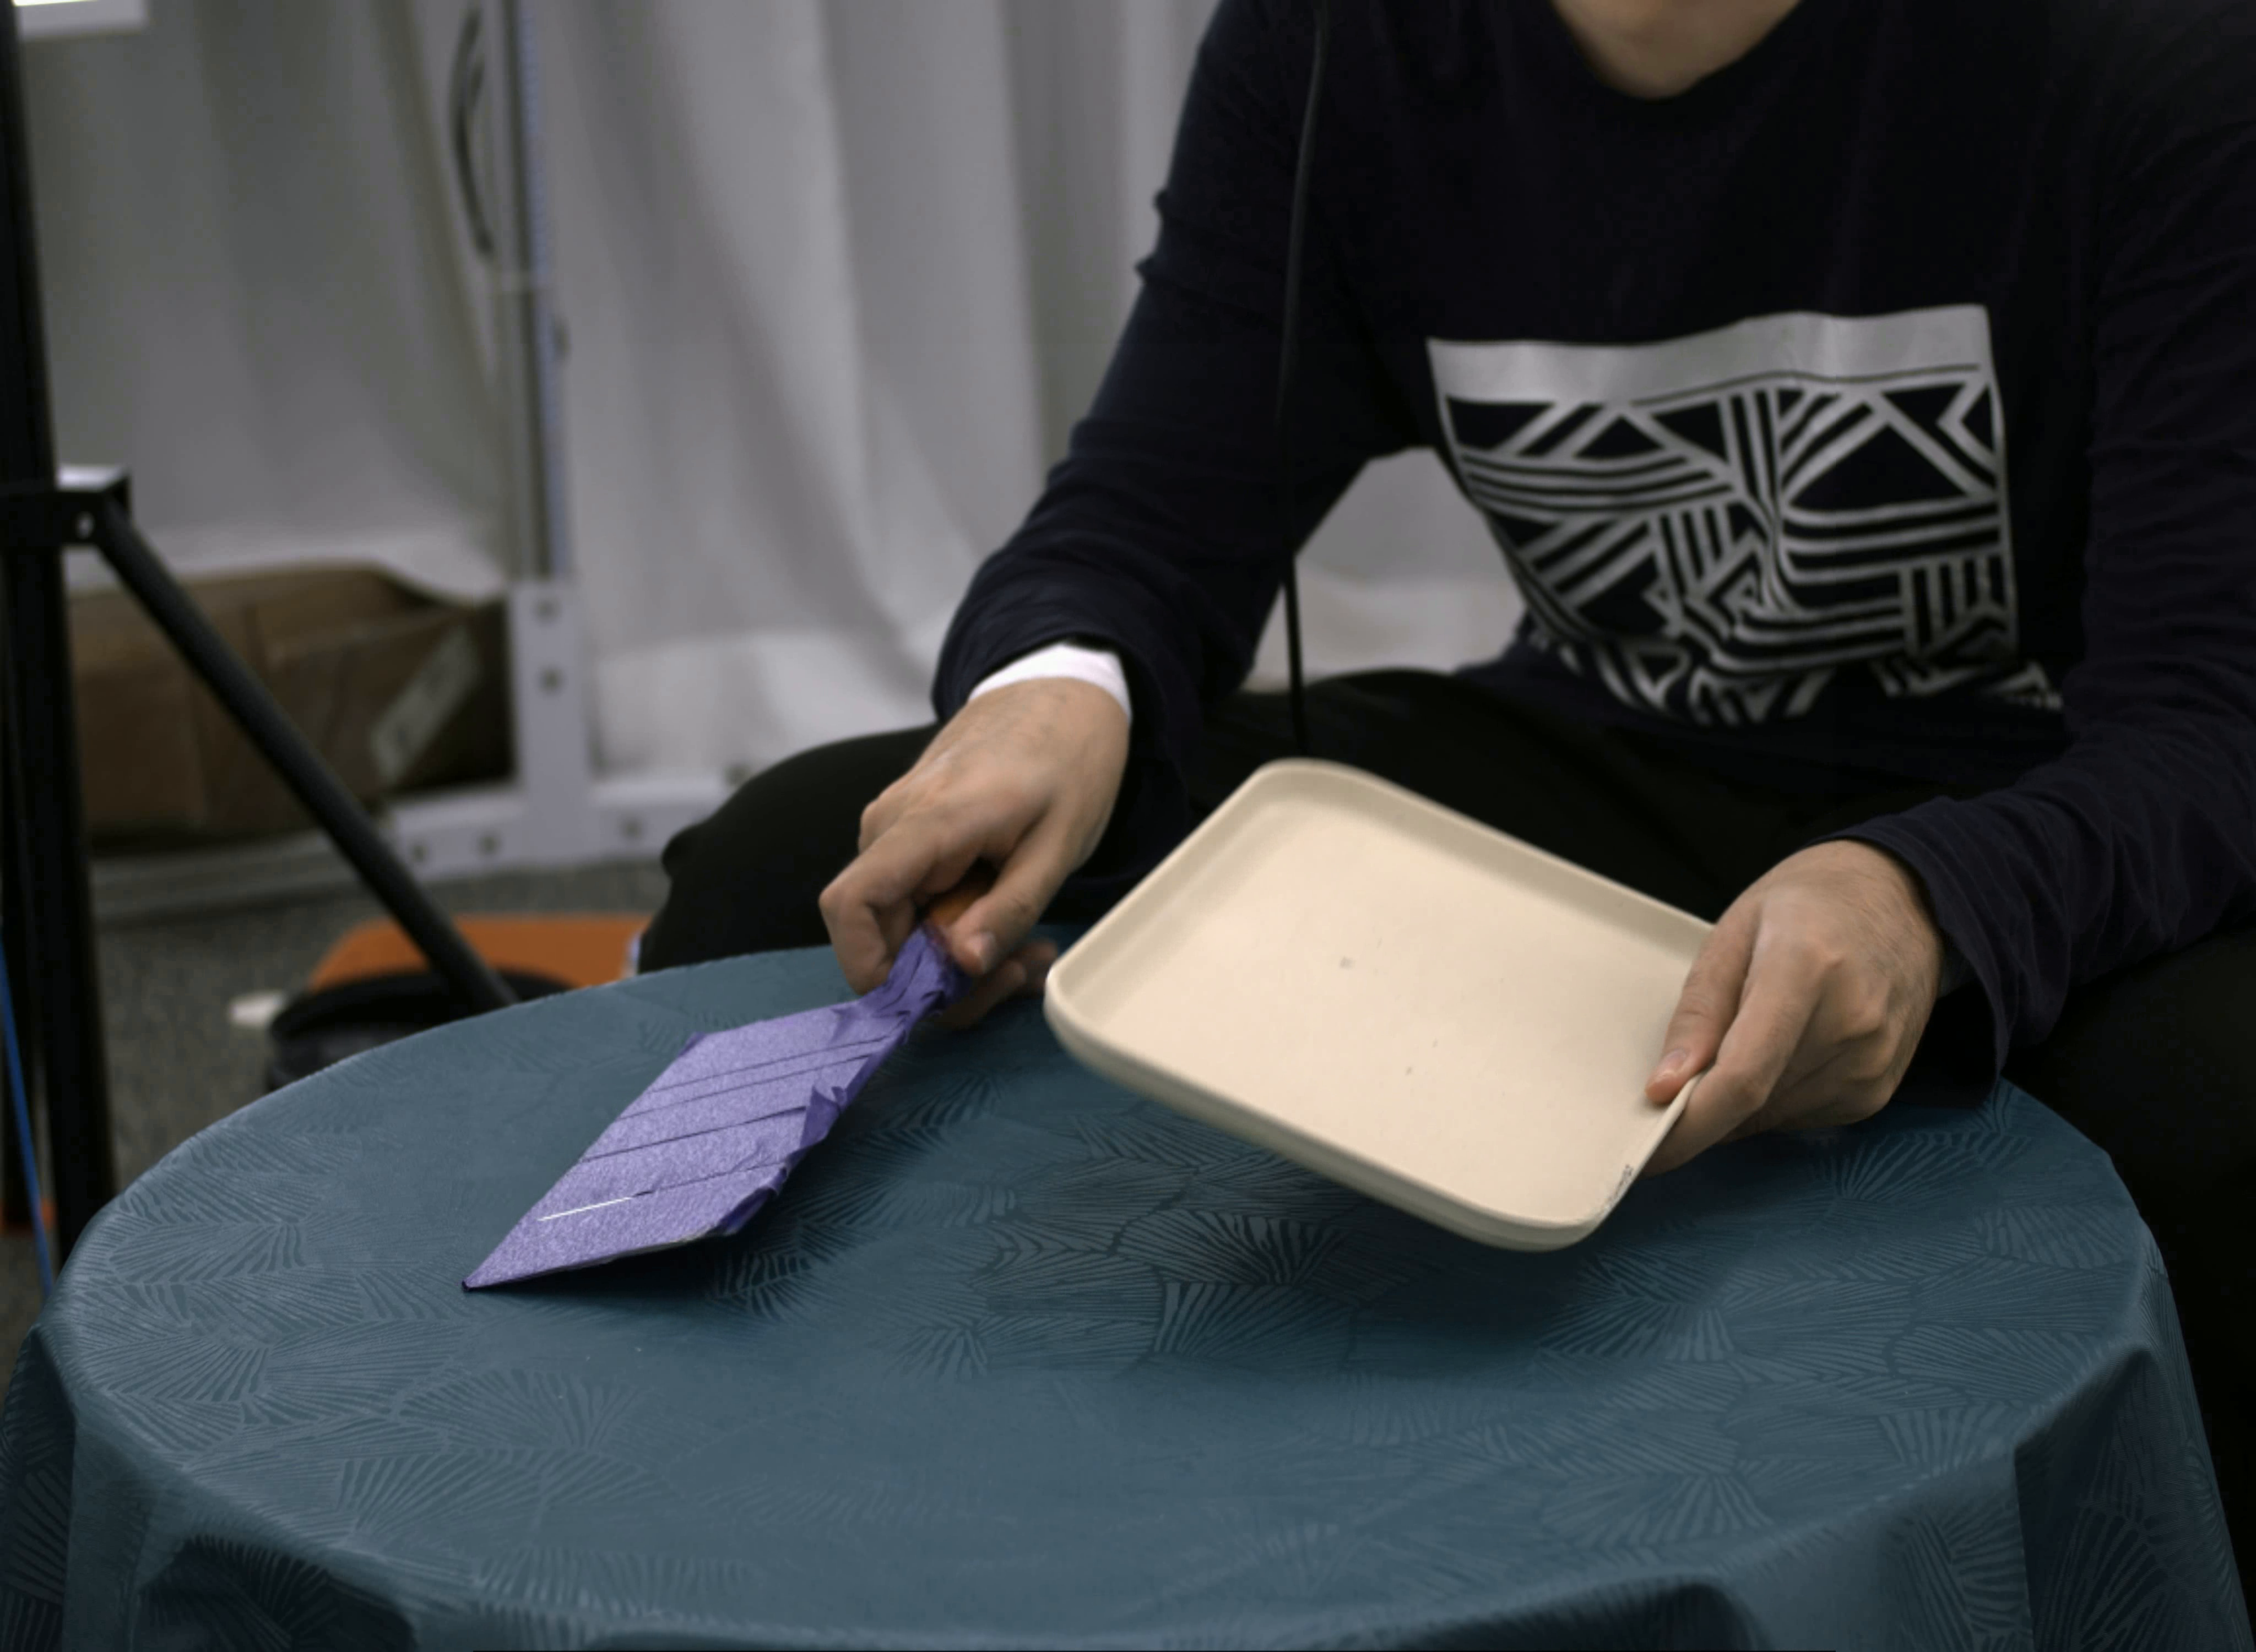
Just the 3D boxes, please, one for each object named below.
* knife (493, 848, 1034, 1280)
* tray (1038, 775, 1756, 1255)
[{"bbox_3d":[-0.110,0.069,1.630,0.105,0.032,0.313,-12,12,18],"label":"knife"},{"bbox_3d":[0.081,0.053,1.533,0.173,0.017,0.237,22,24,14],"label":"tray"}]
